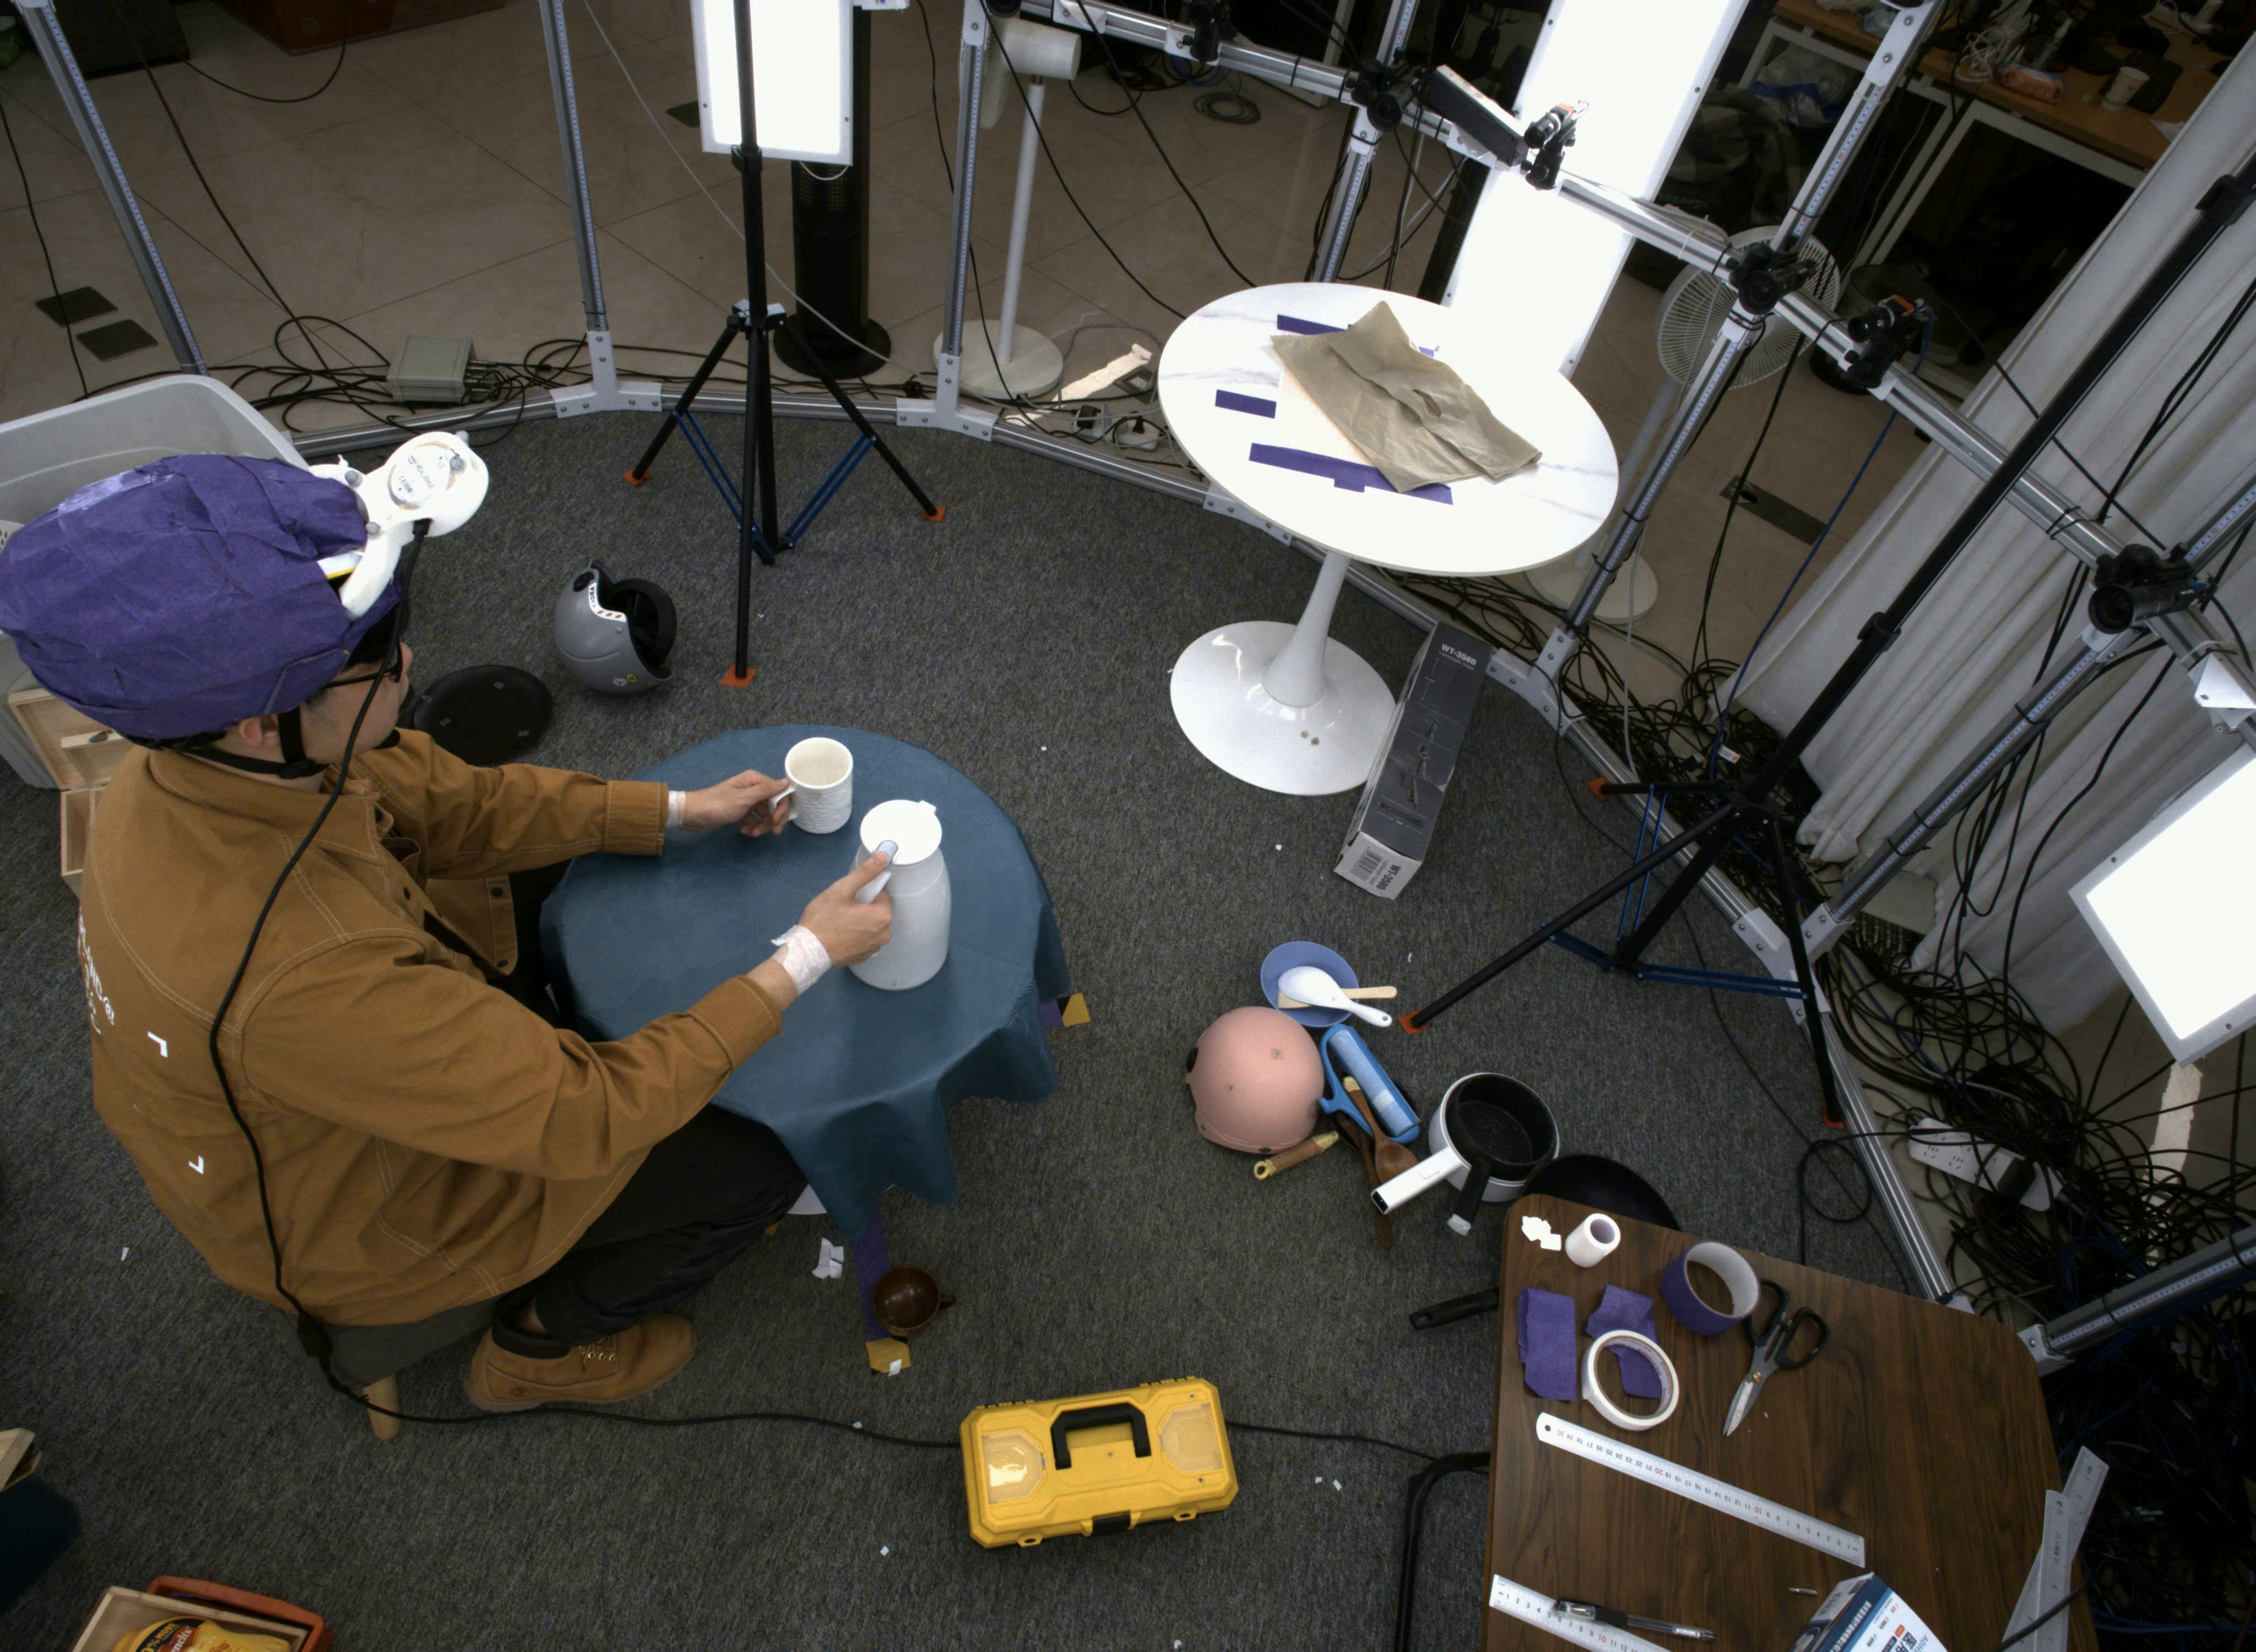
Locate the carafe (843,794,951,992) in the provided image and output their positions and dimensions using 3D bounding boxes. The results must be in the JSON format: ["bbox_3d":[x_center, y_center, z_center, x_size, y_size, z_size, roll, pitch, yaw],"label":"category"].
[{"bbox_3d":[-0.280,0.086,1.533,0.130,0.254,0.166,24,52,7],"label":"carafe"}]

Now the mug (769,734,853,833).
[{"bbox_3d":[-0.416,-0.047,1.689,0.083,0.104,0.118,42,54,19],"label":"mug"}]
